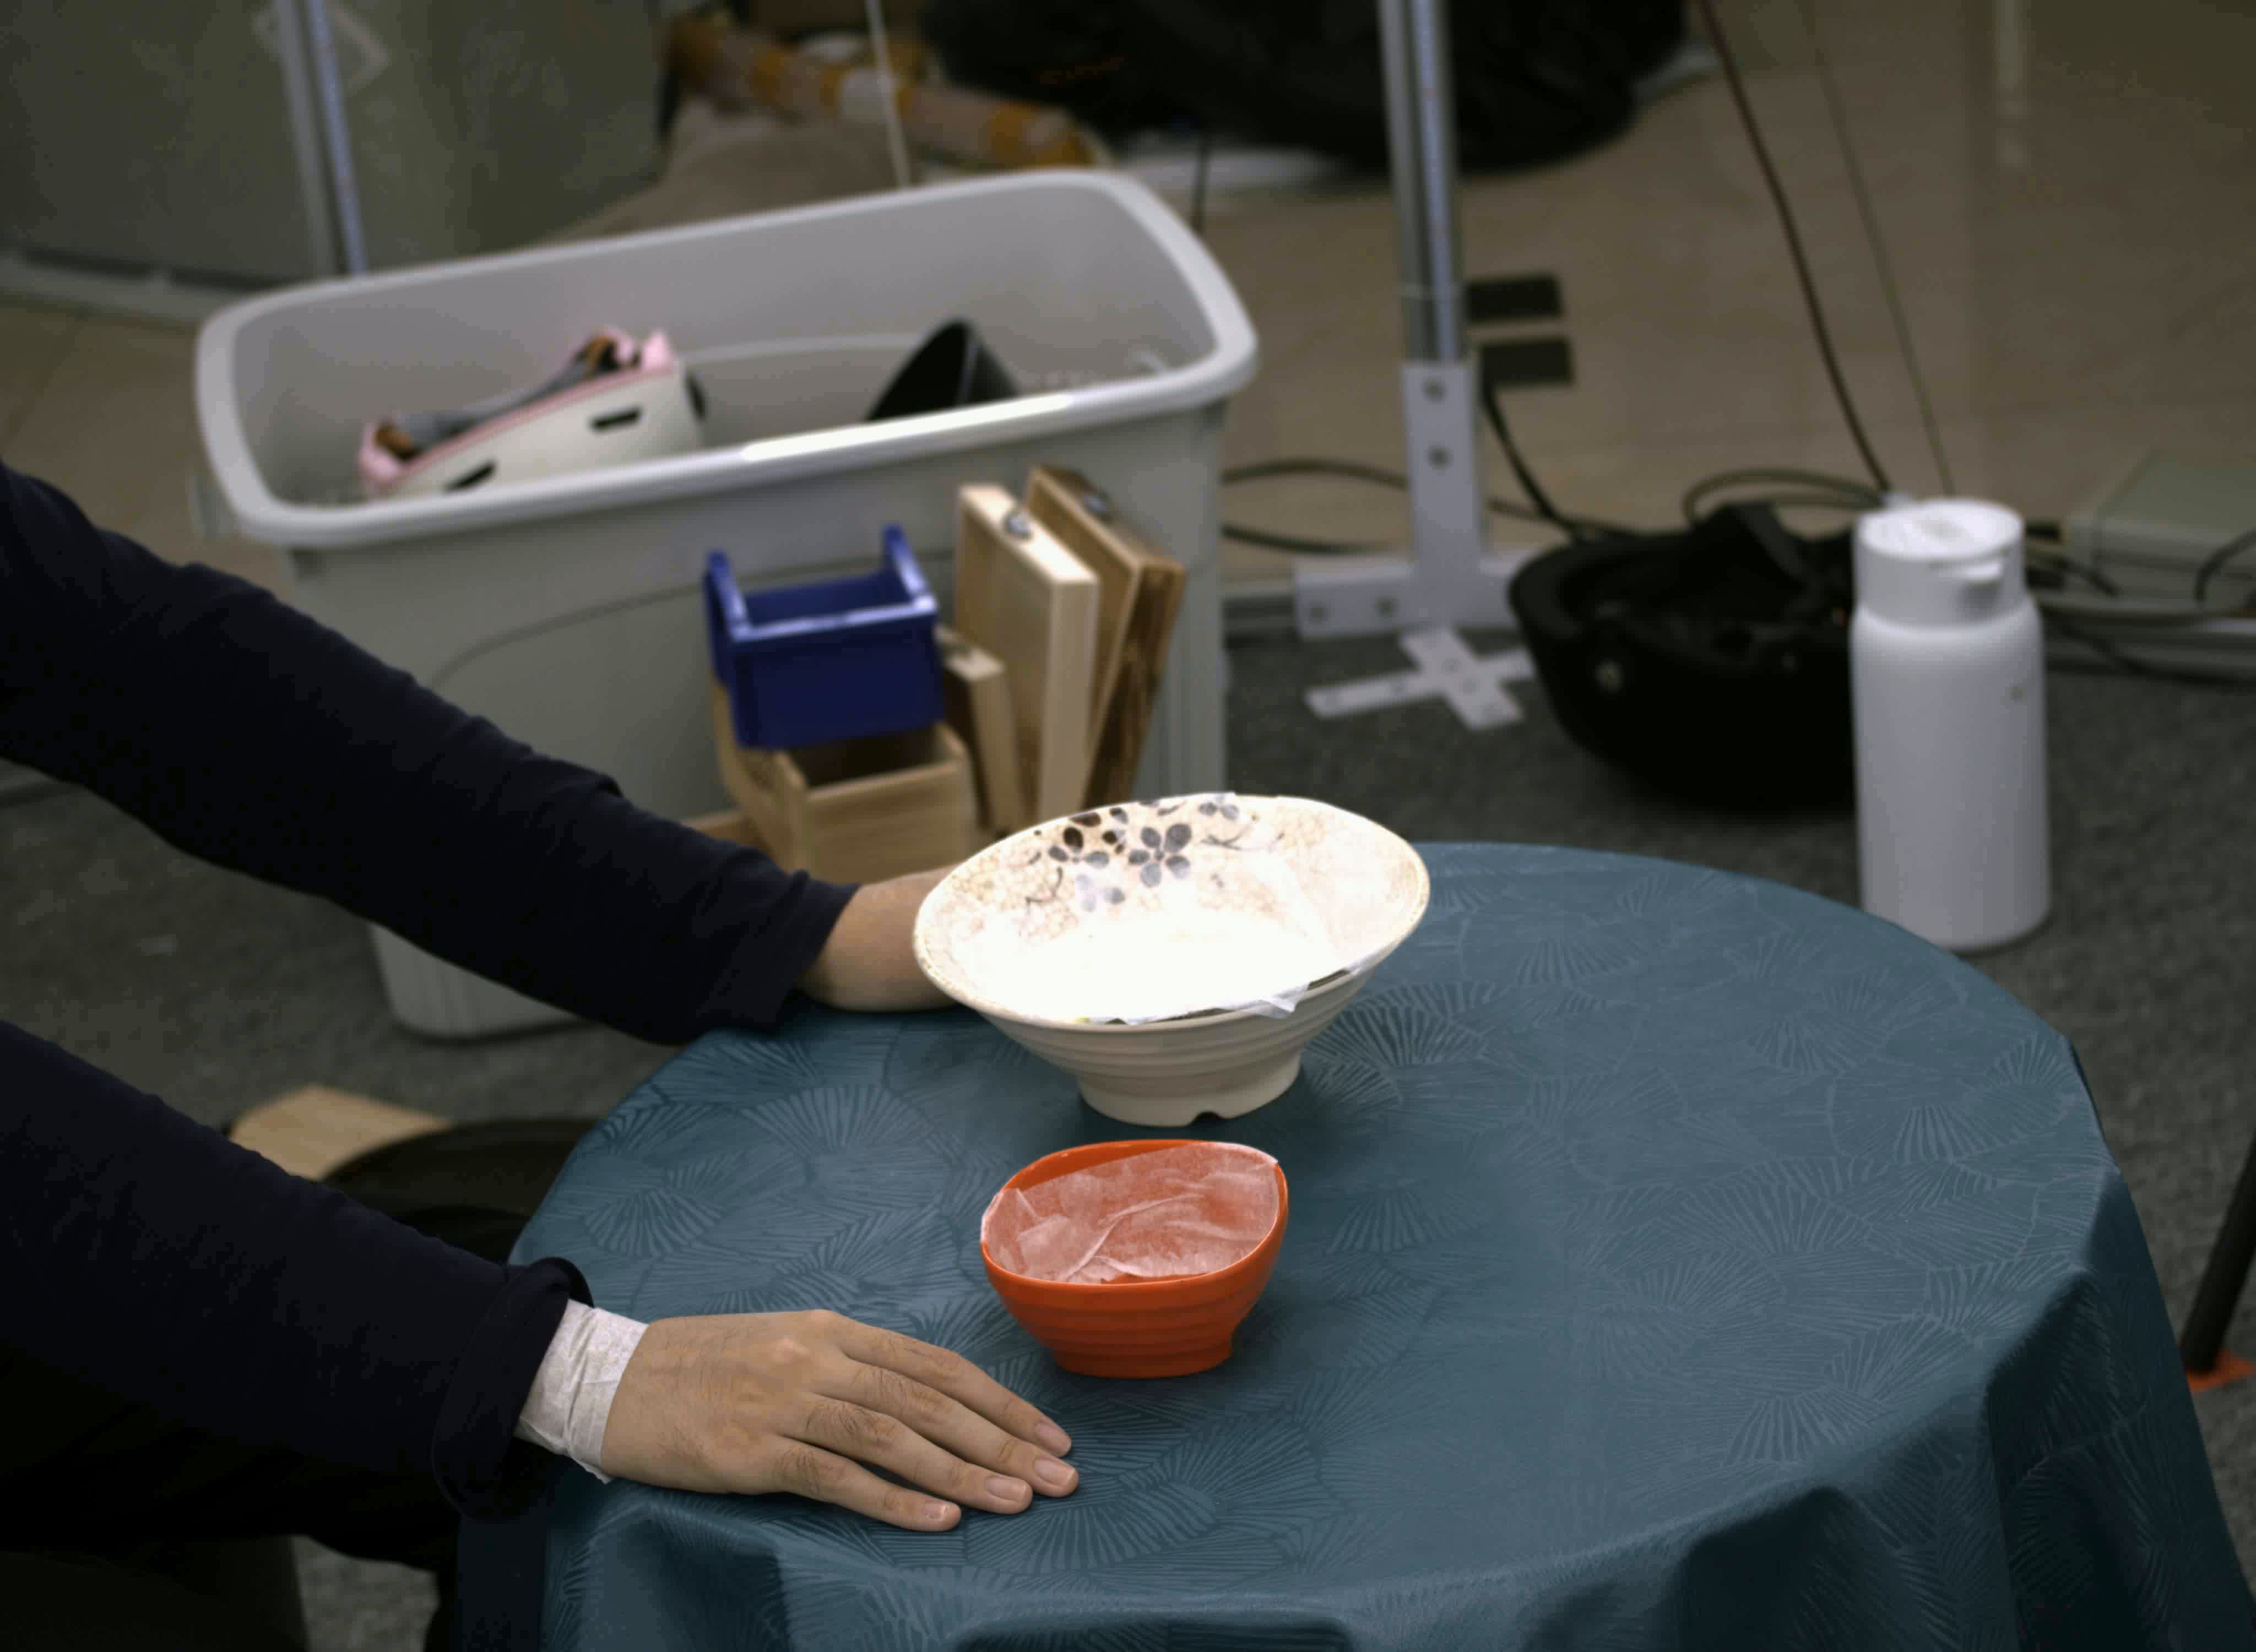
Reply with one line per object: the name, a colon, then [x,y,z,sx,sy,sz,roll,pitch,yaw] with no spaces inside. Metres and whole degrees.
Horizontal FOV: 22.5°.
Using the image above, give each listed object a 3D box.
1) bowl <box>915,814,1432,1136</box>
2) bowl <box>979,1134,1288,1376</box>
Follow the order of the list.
bowl: [0.023,0.068,2.212,0.204,0.079,0.201,-8,21,3]
bowl: [0.004,0.159,2.044,0.119,0.052,0.117,-5,27,2]
